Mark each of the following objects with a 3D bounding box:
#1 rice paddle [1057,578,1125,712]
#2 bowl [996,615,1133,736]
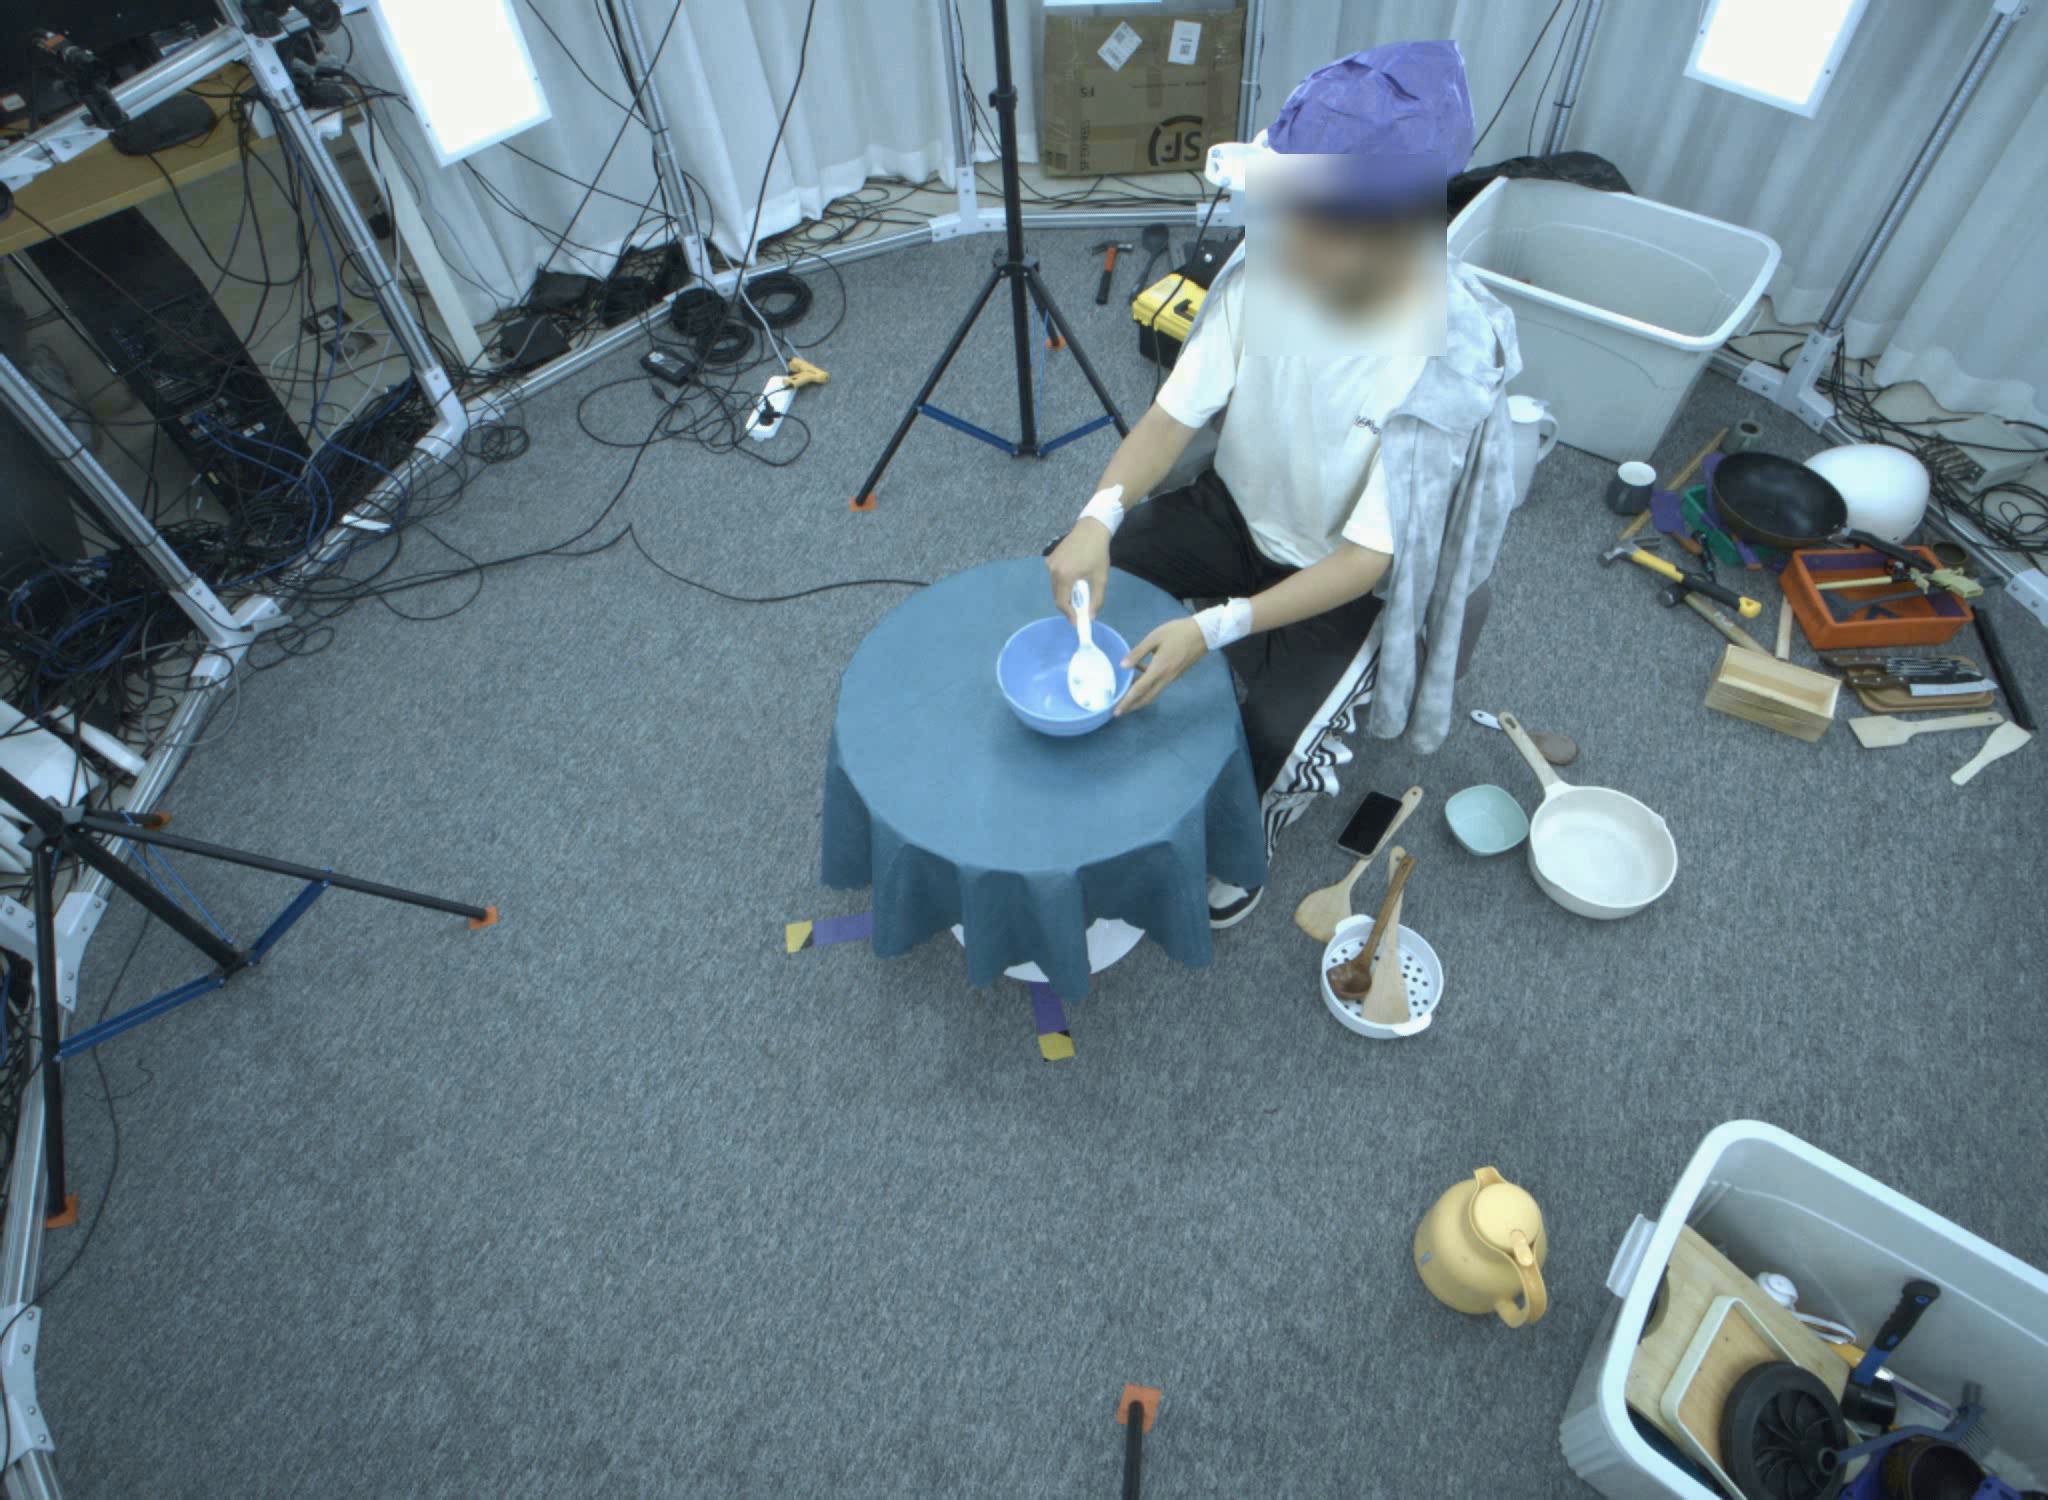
[{"bbox_3d":[0.094,-0.150,1.798,0.069,0.029,0.206,-18,96,-2],"label":"rice paddle"},{"bbox_3d":[0.061,-0.094,1.794,0.196,0.096,0.194,-2,55,4],"label":"bowl"}]
